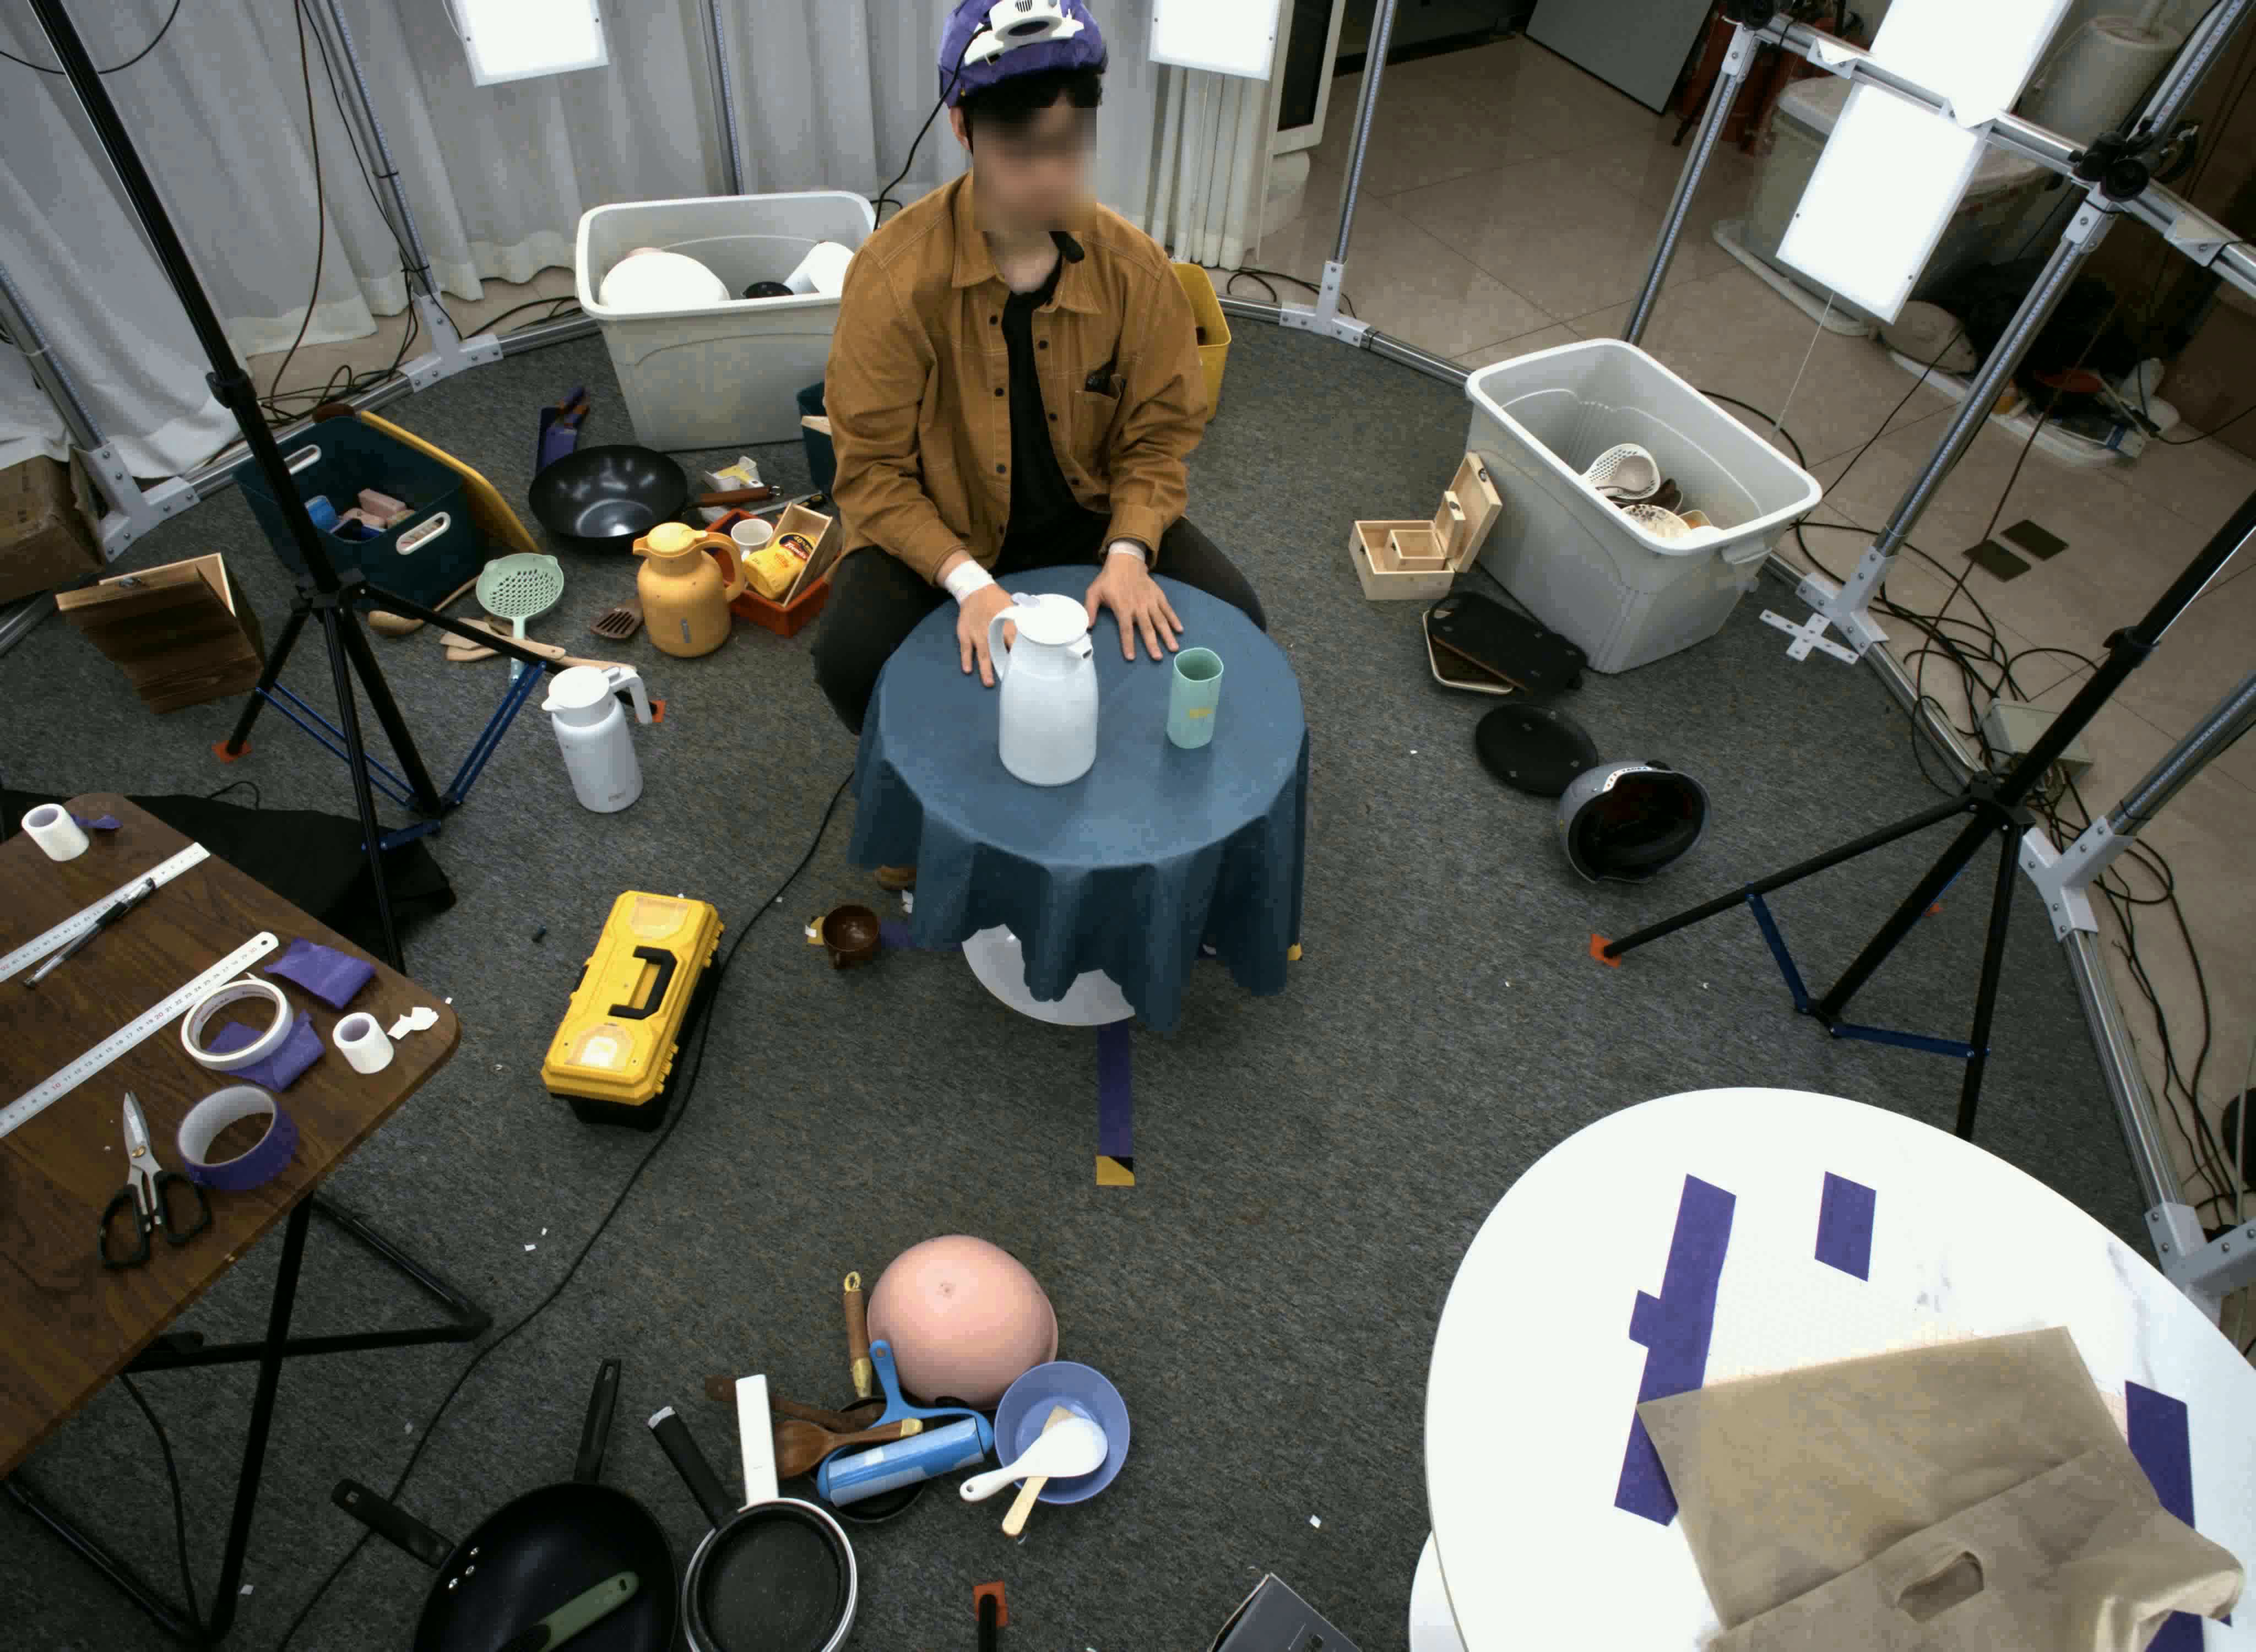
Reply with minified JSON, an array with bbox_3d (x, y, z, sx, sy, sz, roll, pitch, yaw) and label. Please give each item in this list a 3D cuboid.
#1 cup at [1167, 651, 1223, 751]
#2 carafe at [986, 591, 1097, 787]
[{"bbox_3d":[0.089,-0.170,1.742,0.066,0.129,0.068,2,50,-3],"label":"cup"},{"bbox_3d":[-0.118,-0.190,1.667,0.170,0.242,0.134,35,56,24],"label":"carafe"}]
